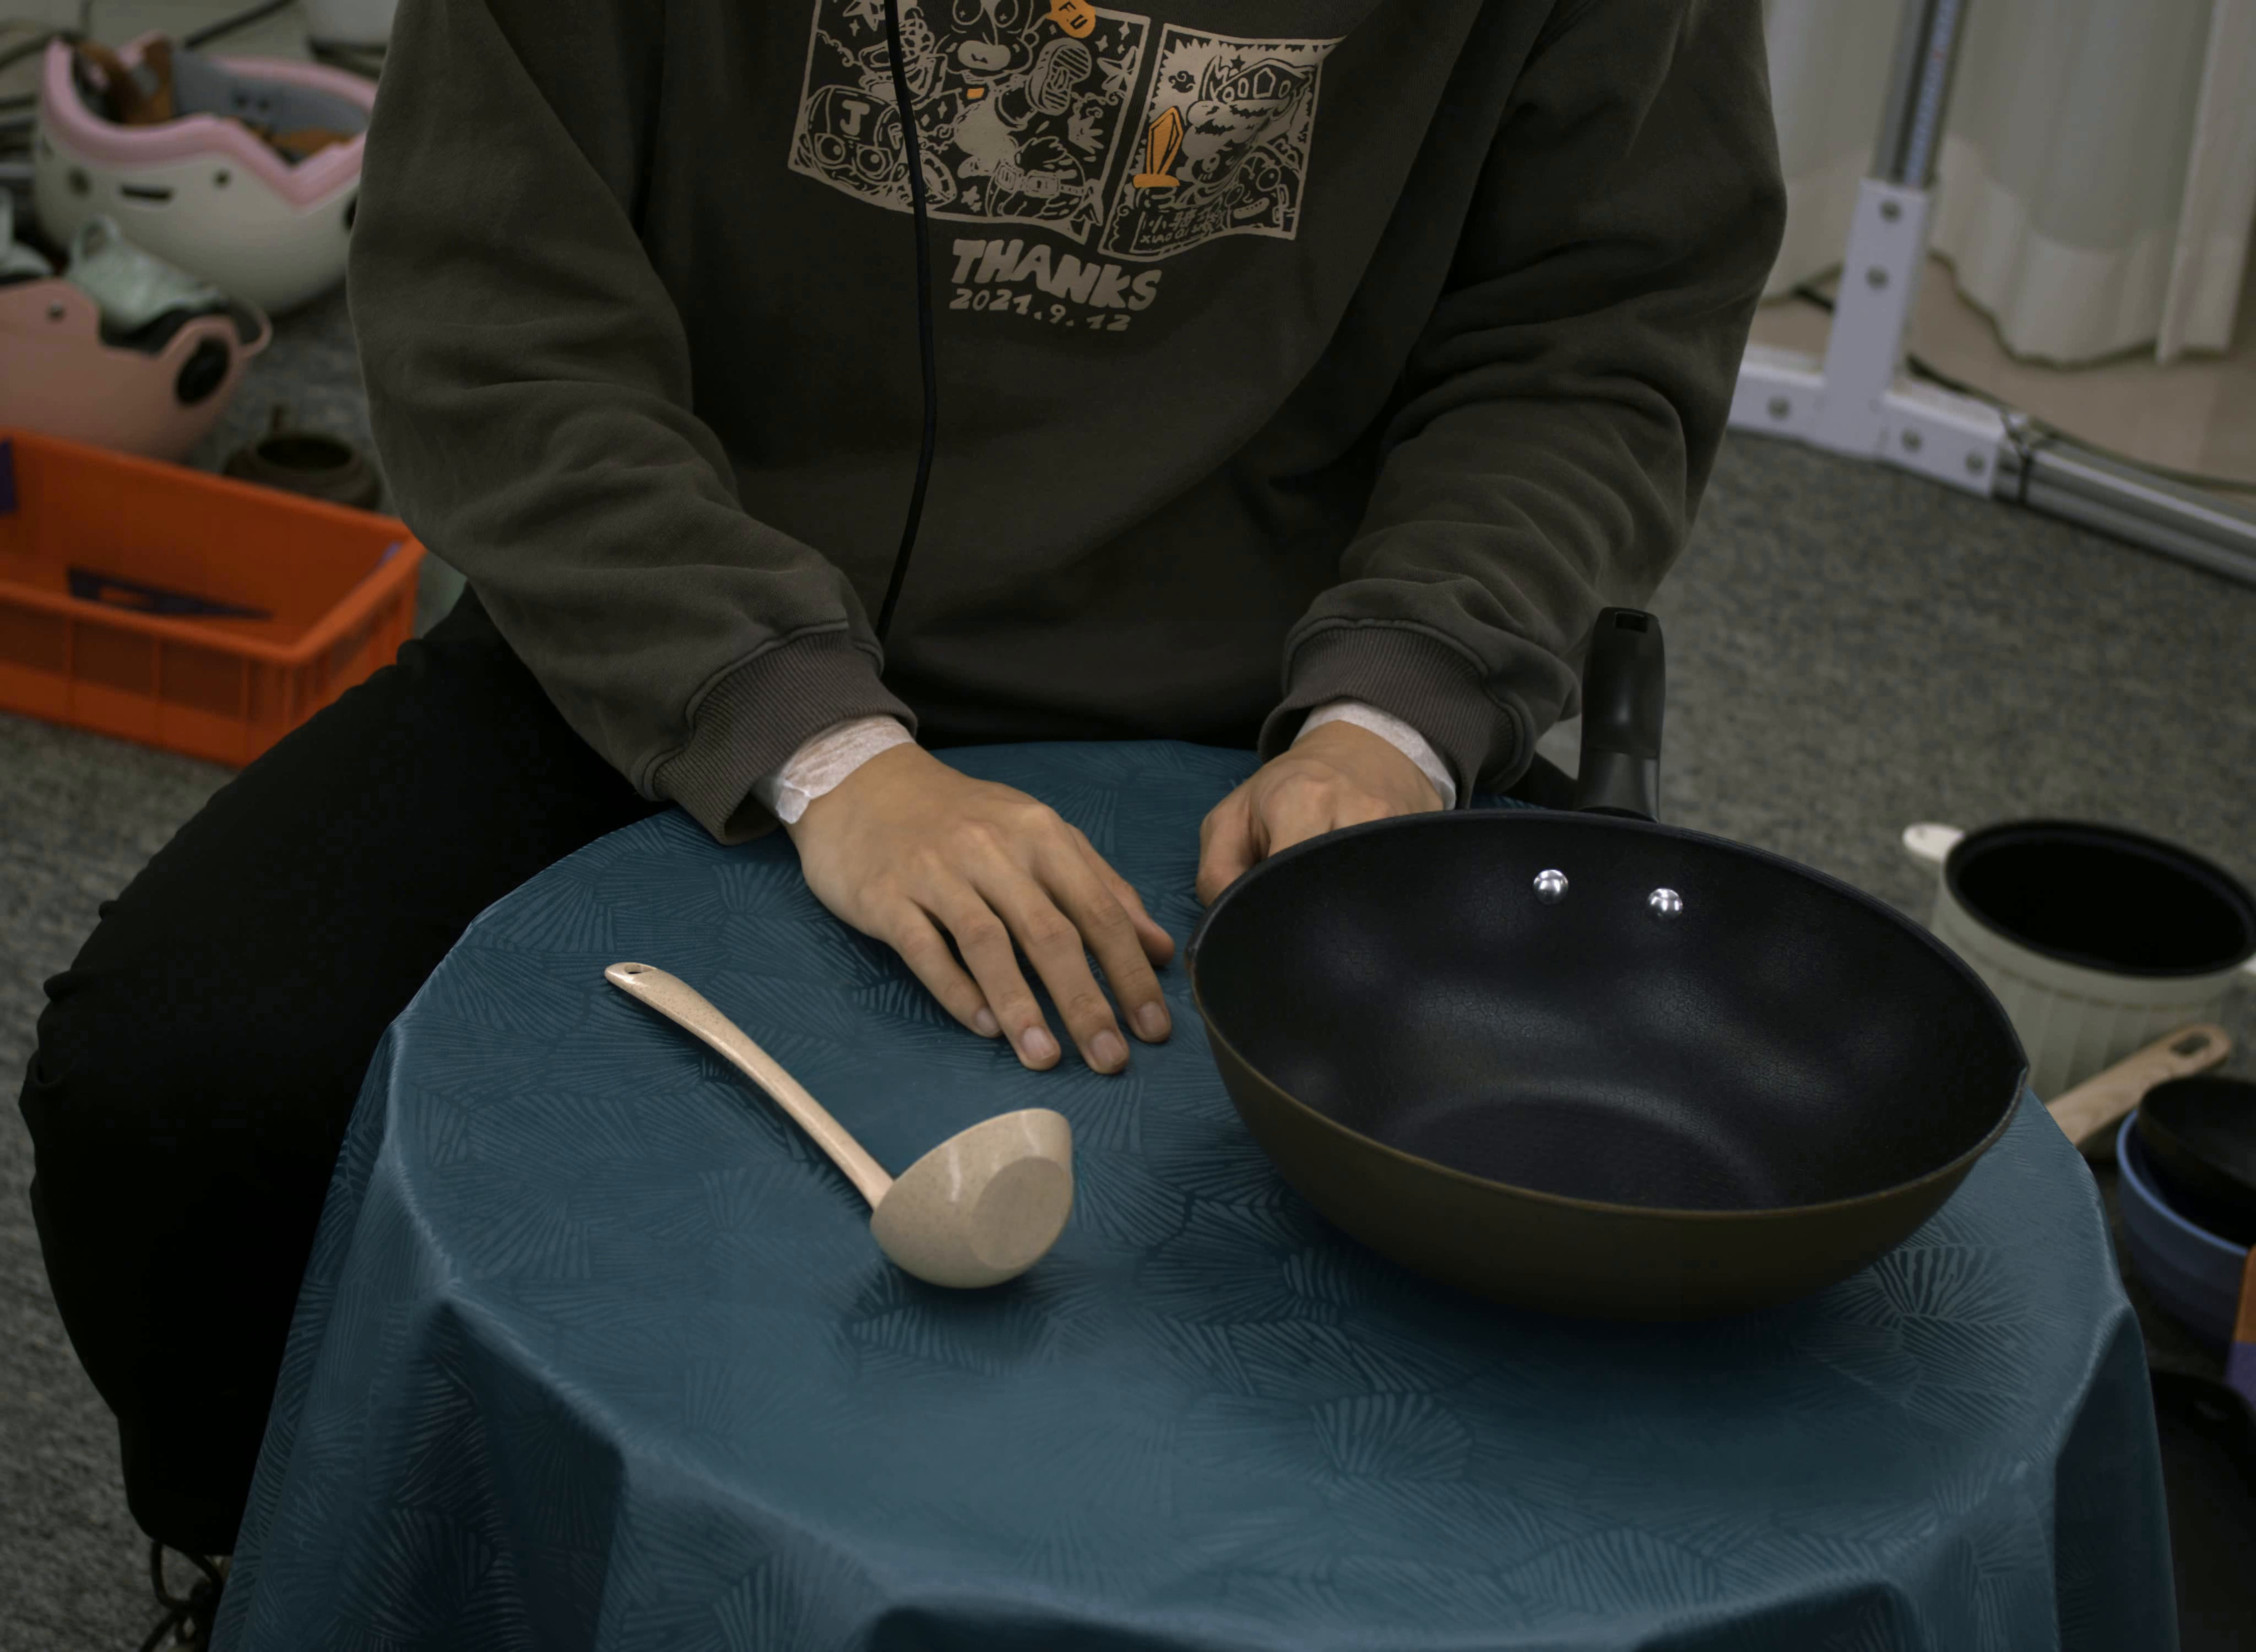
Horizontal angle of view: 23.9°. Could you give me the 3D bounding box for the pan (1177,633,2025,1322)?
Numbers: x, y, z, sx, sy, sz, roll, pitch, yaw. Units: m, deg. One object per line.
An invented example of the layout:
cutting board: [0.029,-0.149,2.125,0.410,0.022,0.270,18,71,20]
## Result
pan: [0.165,0.053,1.889,0.287,0.086,0.465,8,26,4]

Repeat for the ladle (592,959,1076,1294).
ladle: [-0.110,0.075,1.795,0.072,0.072,0.256,-19,37,-32]
